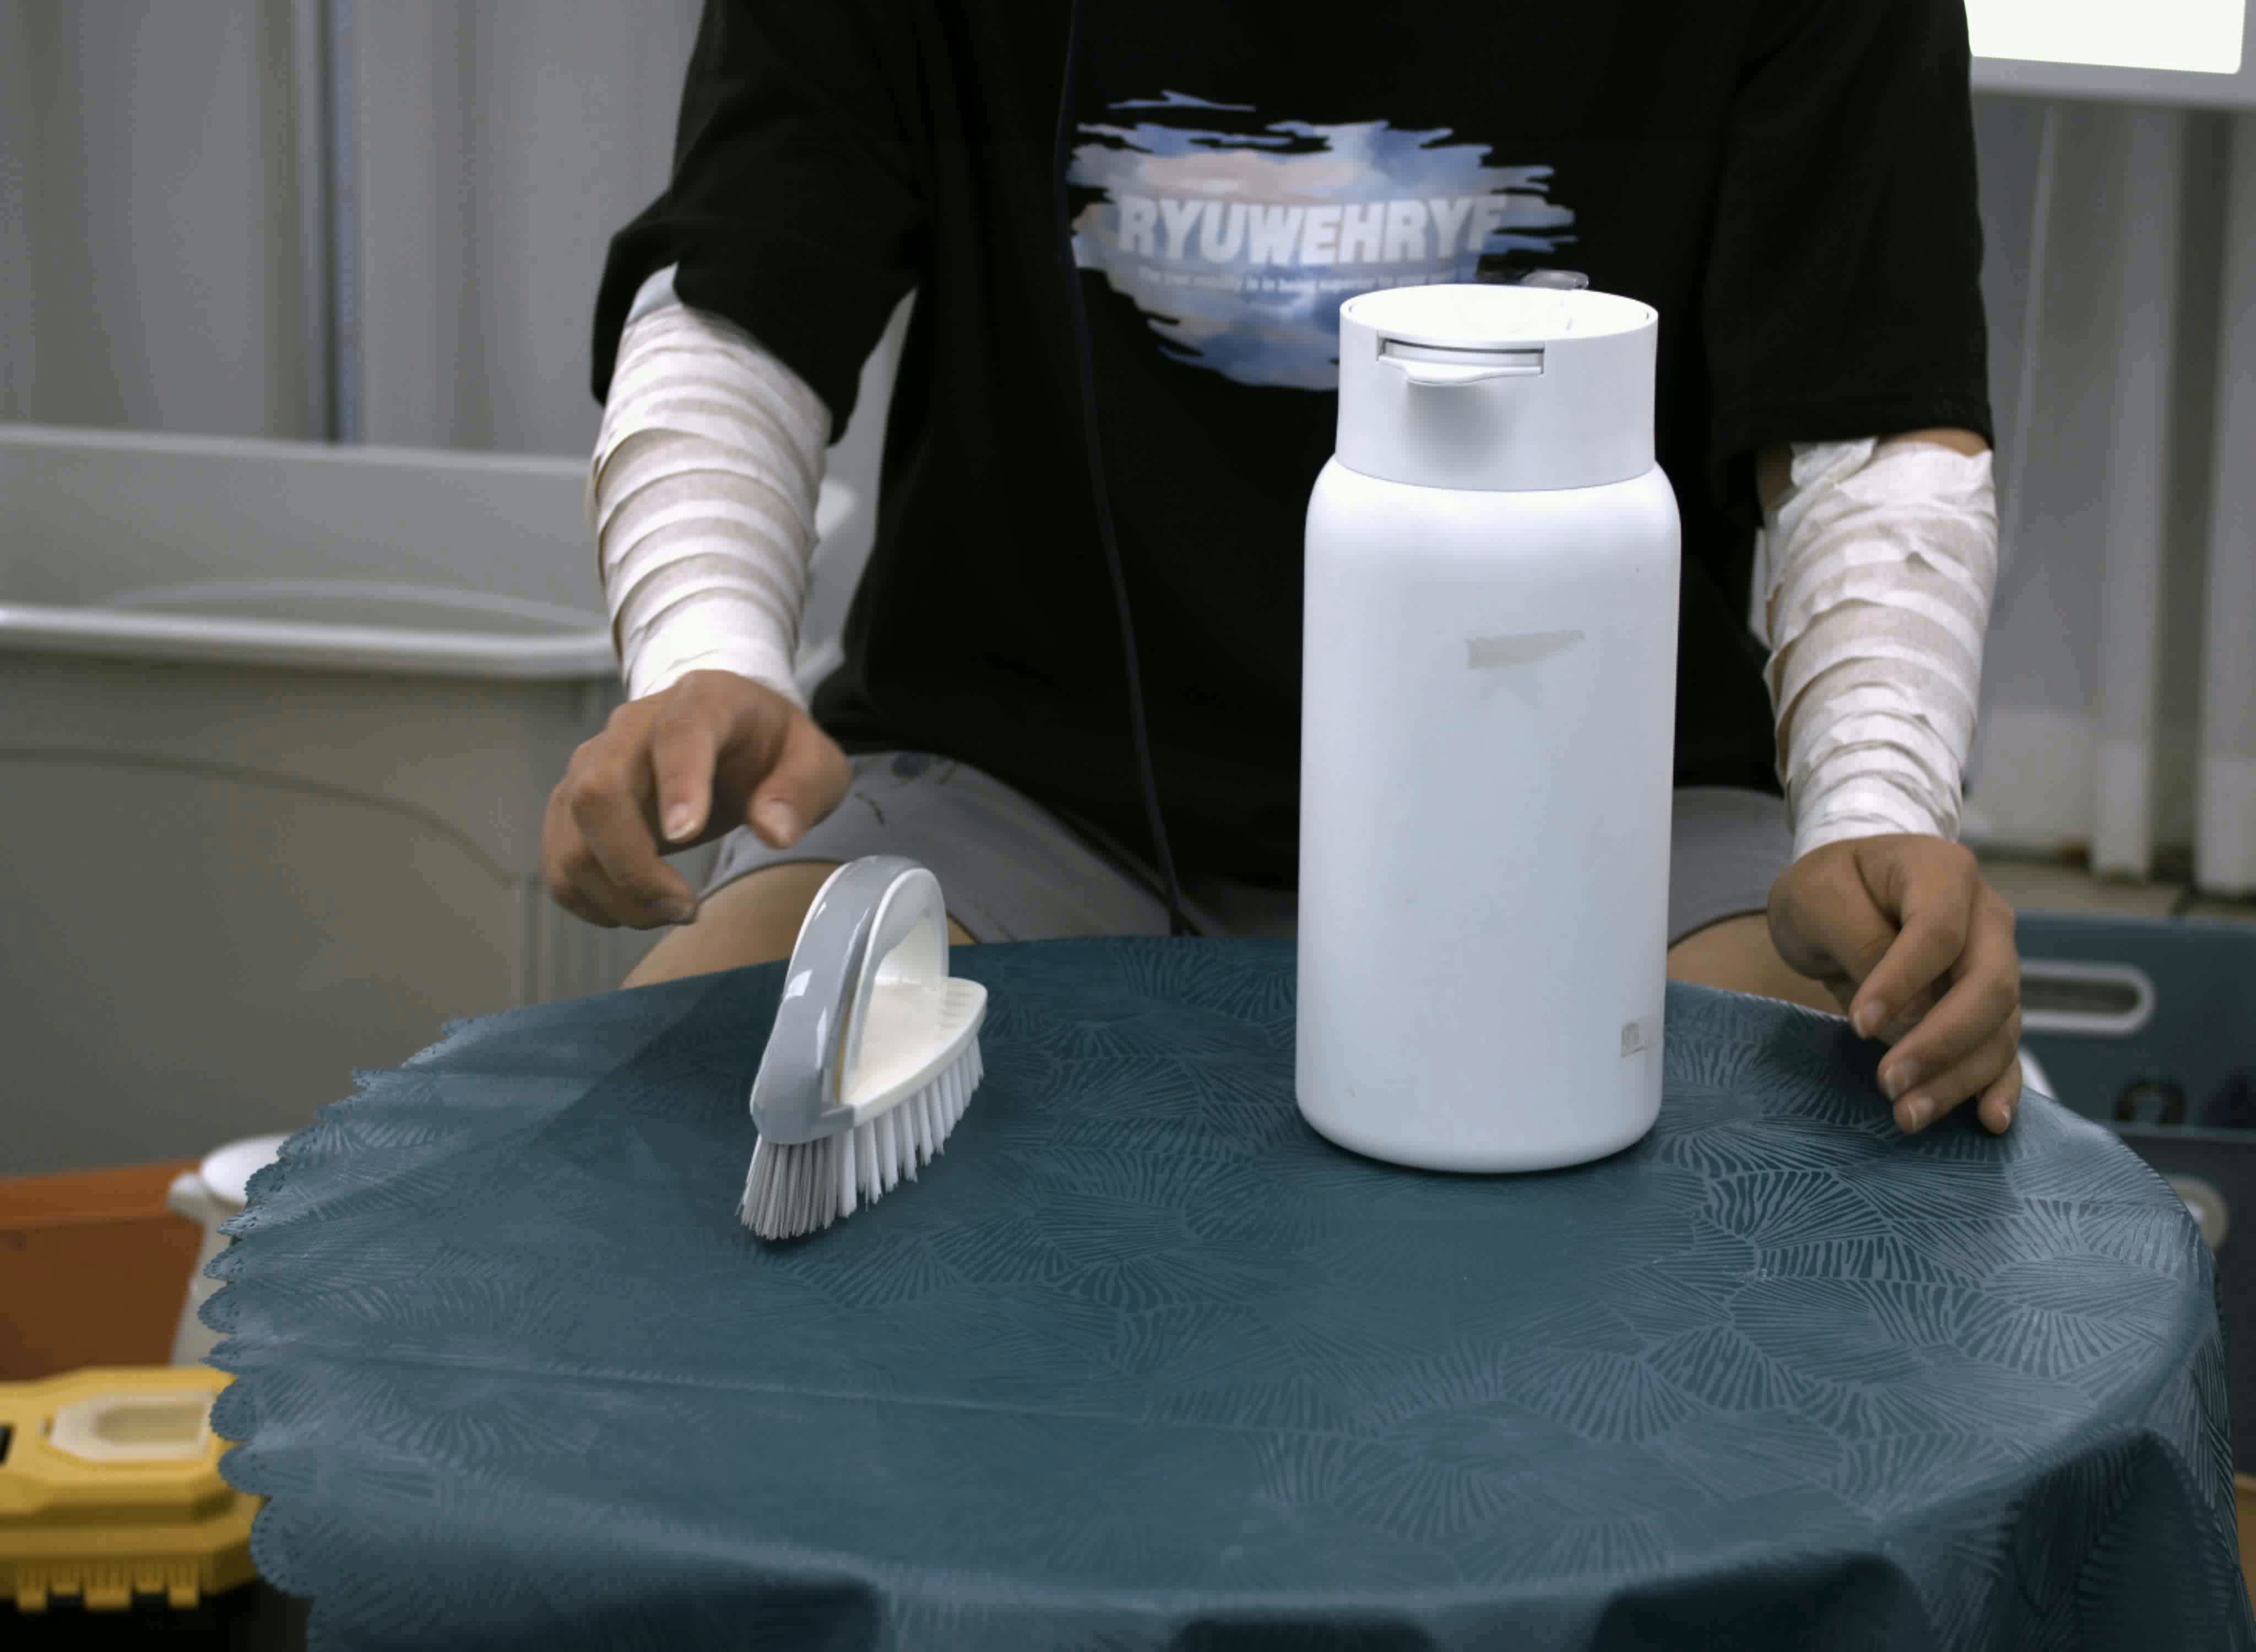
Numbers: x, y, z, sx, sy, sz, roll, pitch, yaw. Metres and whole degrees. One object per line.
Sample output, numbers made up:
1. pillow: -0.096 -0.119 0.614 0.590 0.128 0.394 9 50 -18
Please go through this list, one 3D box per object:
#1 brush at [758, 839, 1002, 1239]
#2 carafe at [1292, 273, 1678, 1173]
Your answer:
1. brush: -0.084 0.060 1.636 0.061 0.095 0.175 2 17 12
2. carafe: 0.116 -0.037 1.668 0.123 0.271 0.173 4 16 18
